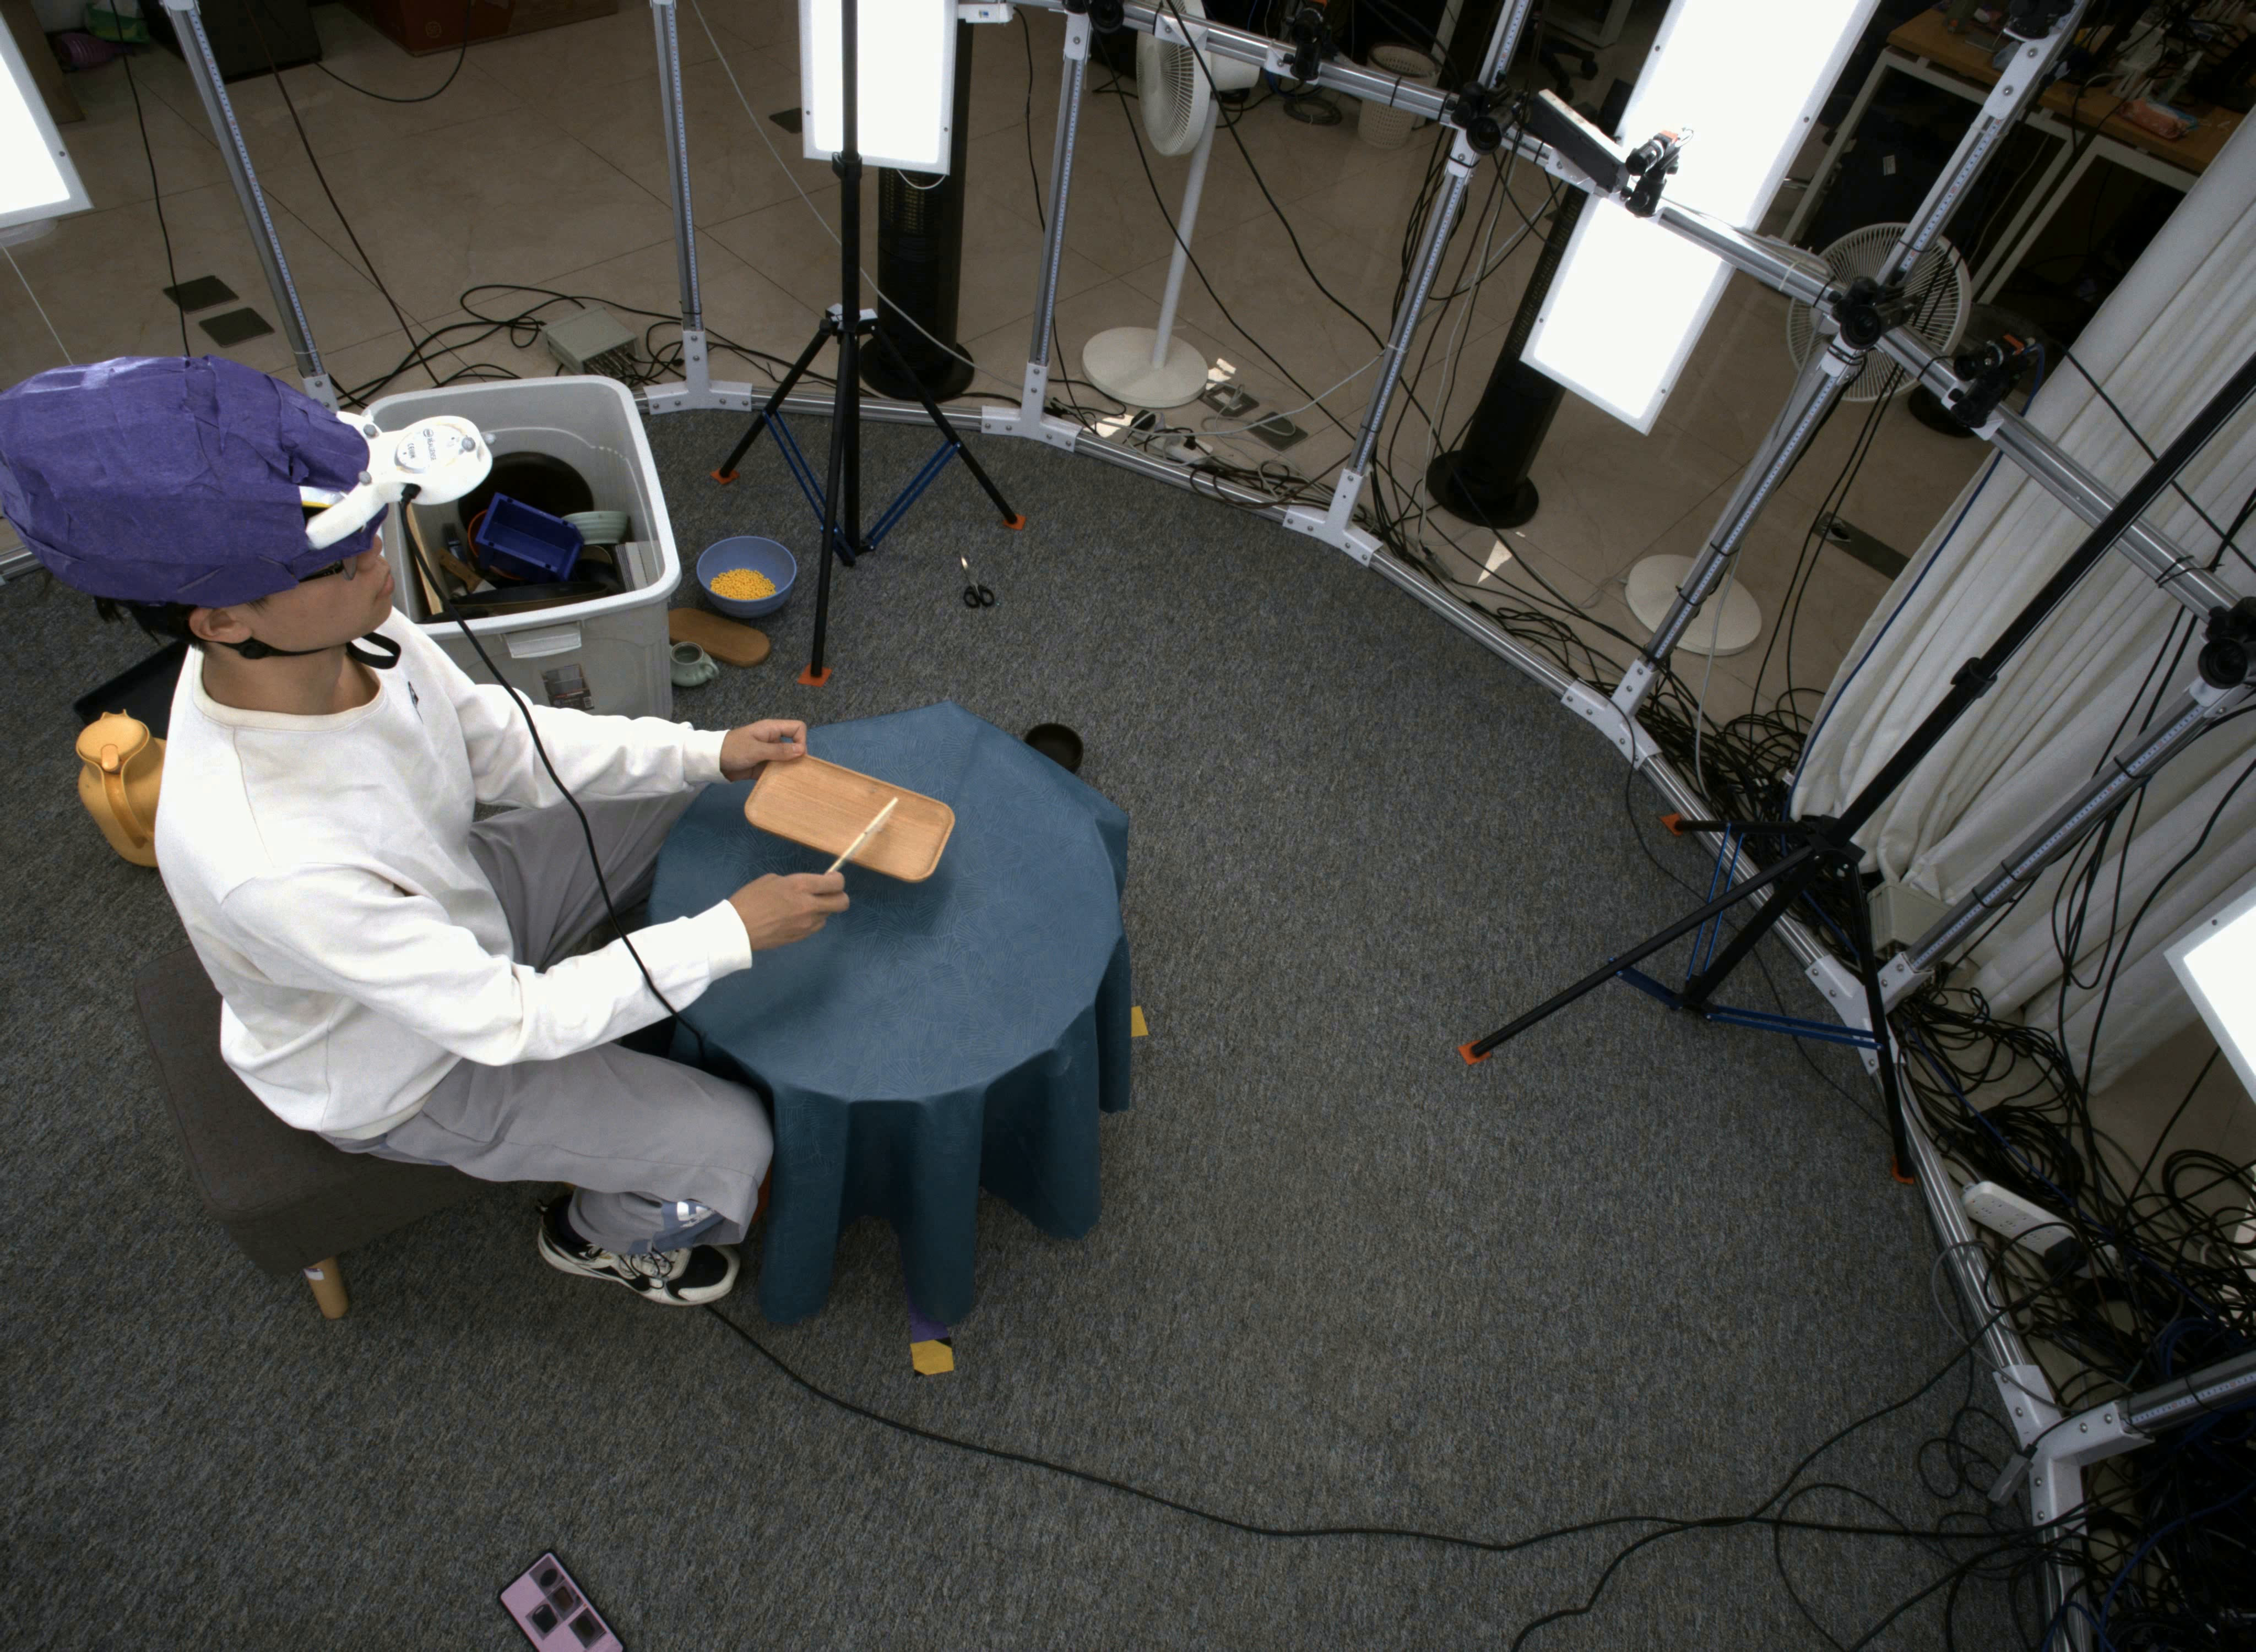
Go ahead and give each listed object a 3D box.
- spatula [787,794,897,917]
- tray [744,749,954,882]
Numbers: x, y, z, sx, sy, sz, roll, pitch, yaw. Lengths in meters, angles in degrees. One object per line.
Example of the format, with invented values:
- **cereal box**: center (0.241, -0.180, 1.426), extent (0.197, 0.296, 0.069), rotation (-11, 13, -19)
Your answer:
- **spatula**: center (-0.347, 0.036, 1.577), extent (0.005, 0.051, 0.207), rotation (35, 54, 4)
- **tray**: center (-0.353, -0.013, 1.649), extent (0.249, 0.023, 0.129), rotation (20, 51, -3)
